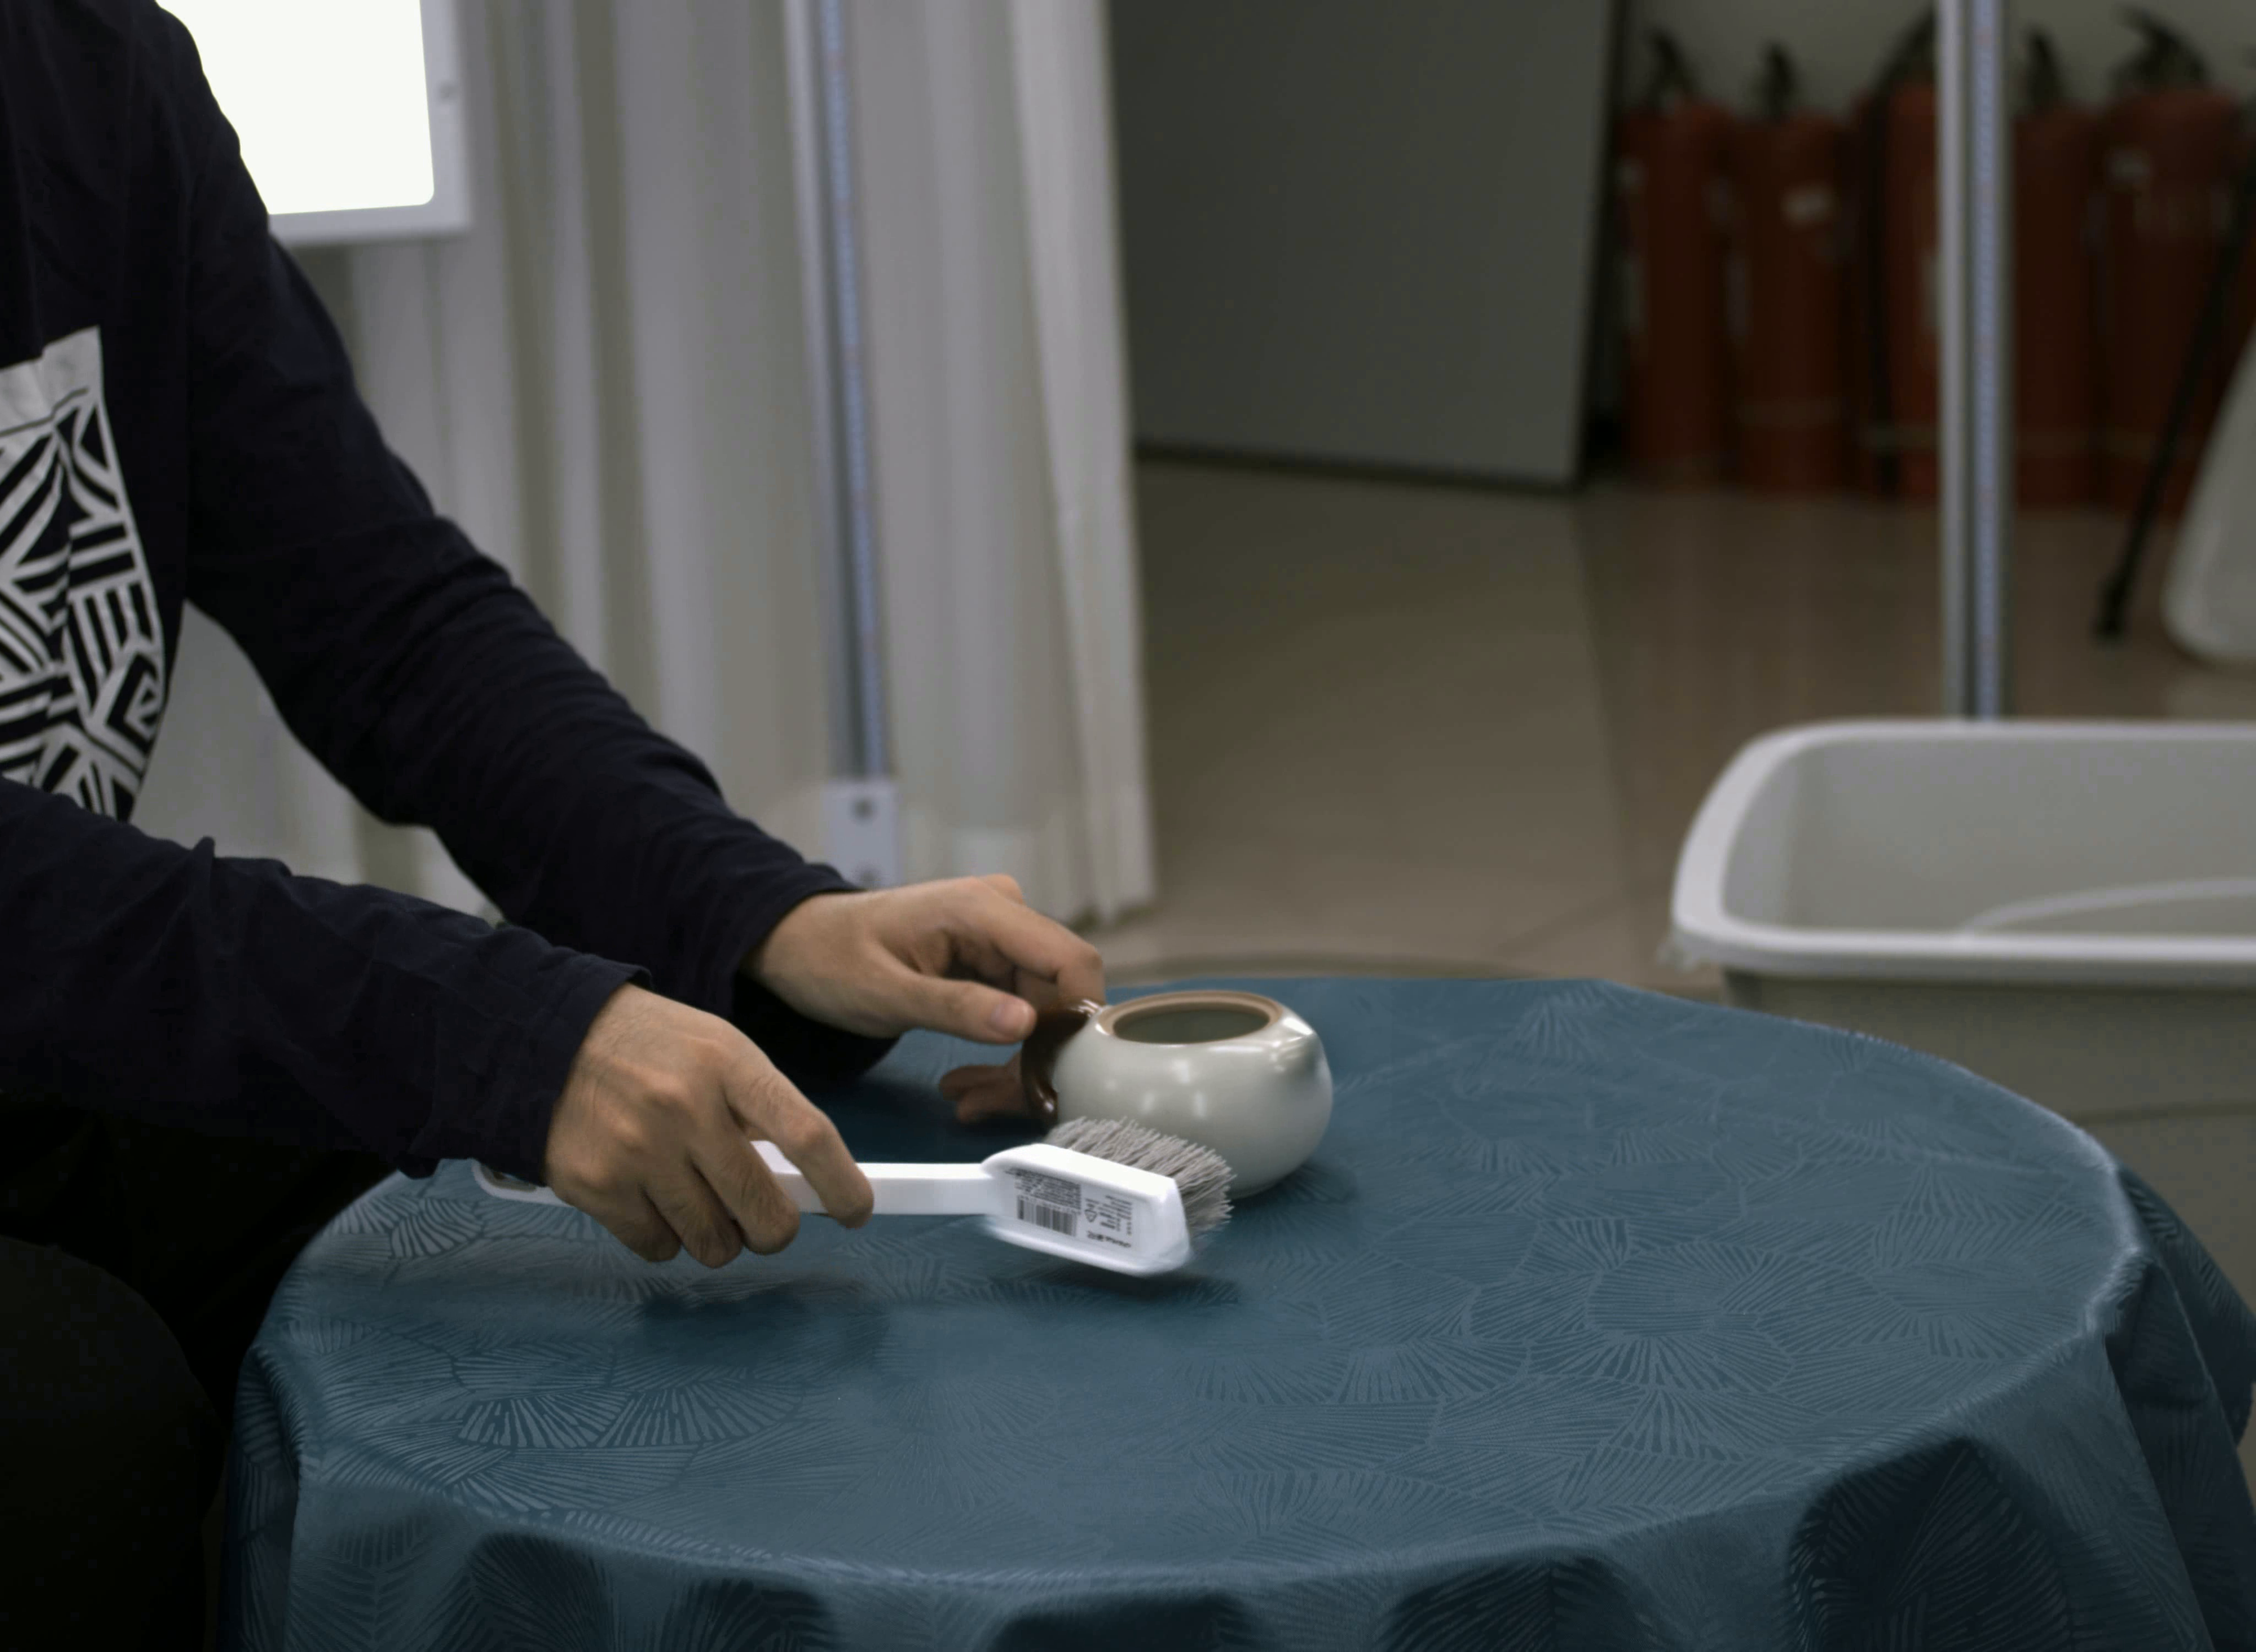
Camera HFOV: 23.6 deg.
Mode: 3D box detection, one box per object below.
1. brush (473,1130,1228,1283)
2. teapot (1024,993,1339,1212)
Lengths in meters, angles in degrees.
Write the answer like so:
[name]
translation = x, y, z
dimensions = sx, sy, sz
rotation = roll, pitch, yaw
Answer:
[brush]
translation = -0.087, 0.115, 1.703
dimensions = 0.243, 0.035, 0.050
rotation = 1, 20, 17
[teapot]
translation = 0.017, 0.090, 1.781
dimensions = 0.129, 0.060, 0.090
rotation = 7, 20, 37
